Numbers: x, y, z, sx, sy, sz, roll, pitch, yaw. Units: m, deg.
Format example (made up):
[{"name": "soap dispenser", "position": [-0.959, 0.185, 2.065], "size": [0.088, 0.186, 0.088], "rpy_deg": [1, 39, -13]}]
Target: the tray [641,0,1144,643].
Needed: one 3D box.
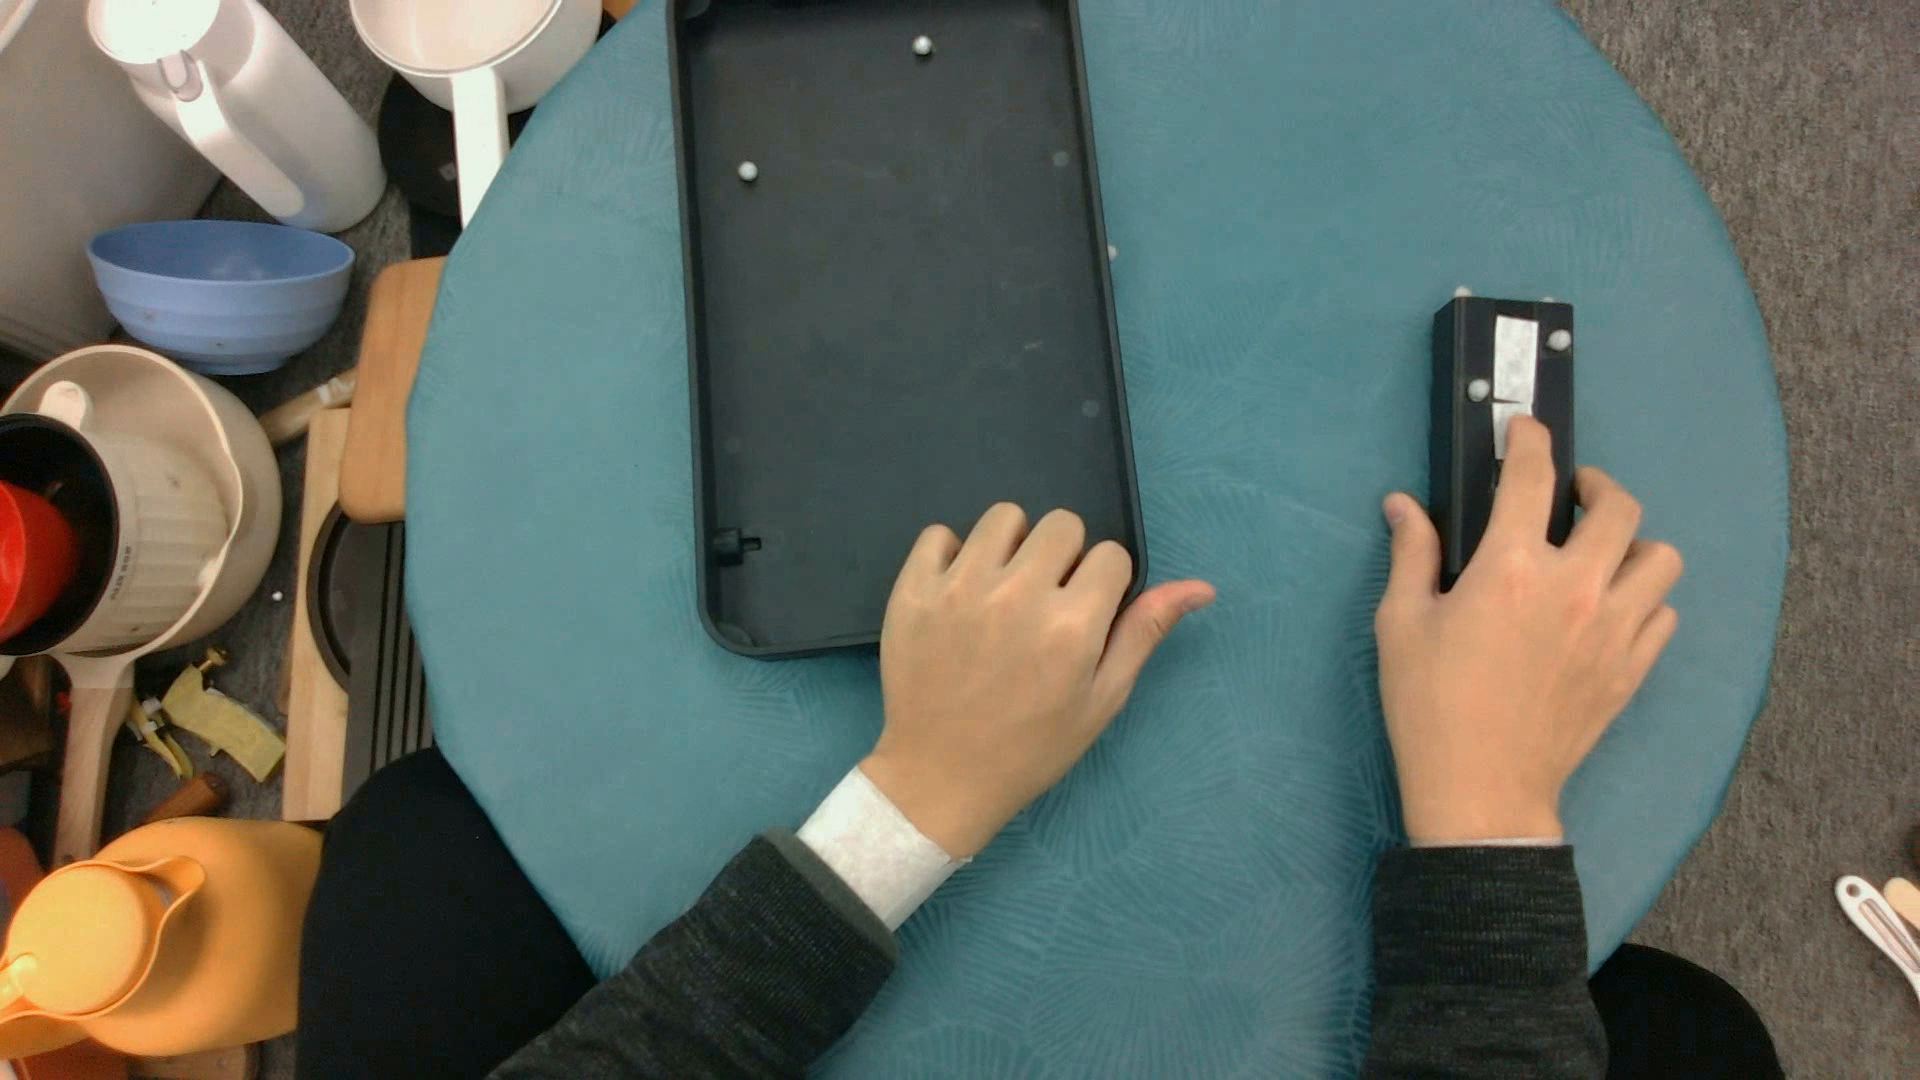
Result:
[{"name": "tray", "position": [-0.034, -0.119, 0.603], "size": [0.184, 0.037, 0.318], "rpy_deg": [-8, 77, -1]}]

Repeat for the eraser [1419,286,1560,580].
[{"name": "eraser", "position": [0.223, -0.046, 0.584], "size": [0.053, 0.030, 0.126], "rpy_deg": [3, 78, 4]}]
